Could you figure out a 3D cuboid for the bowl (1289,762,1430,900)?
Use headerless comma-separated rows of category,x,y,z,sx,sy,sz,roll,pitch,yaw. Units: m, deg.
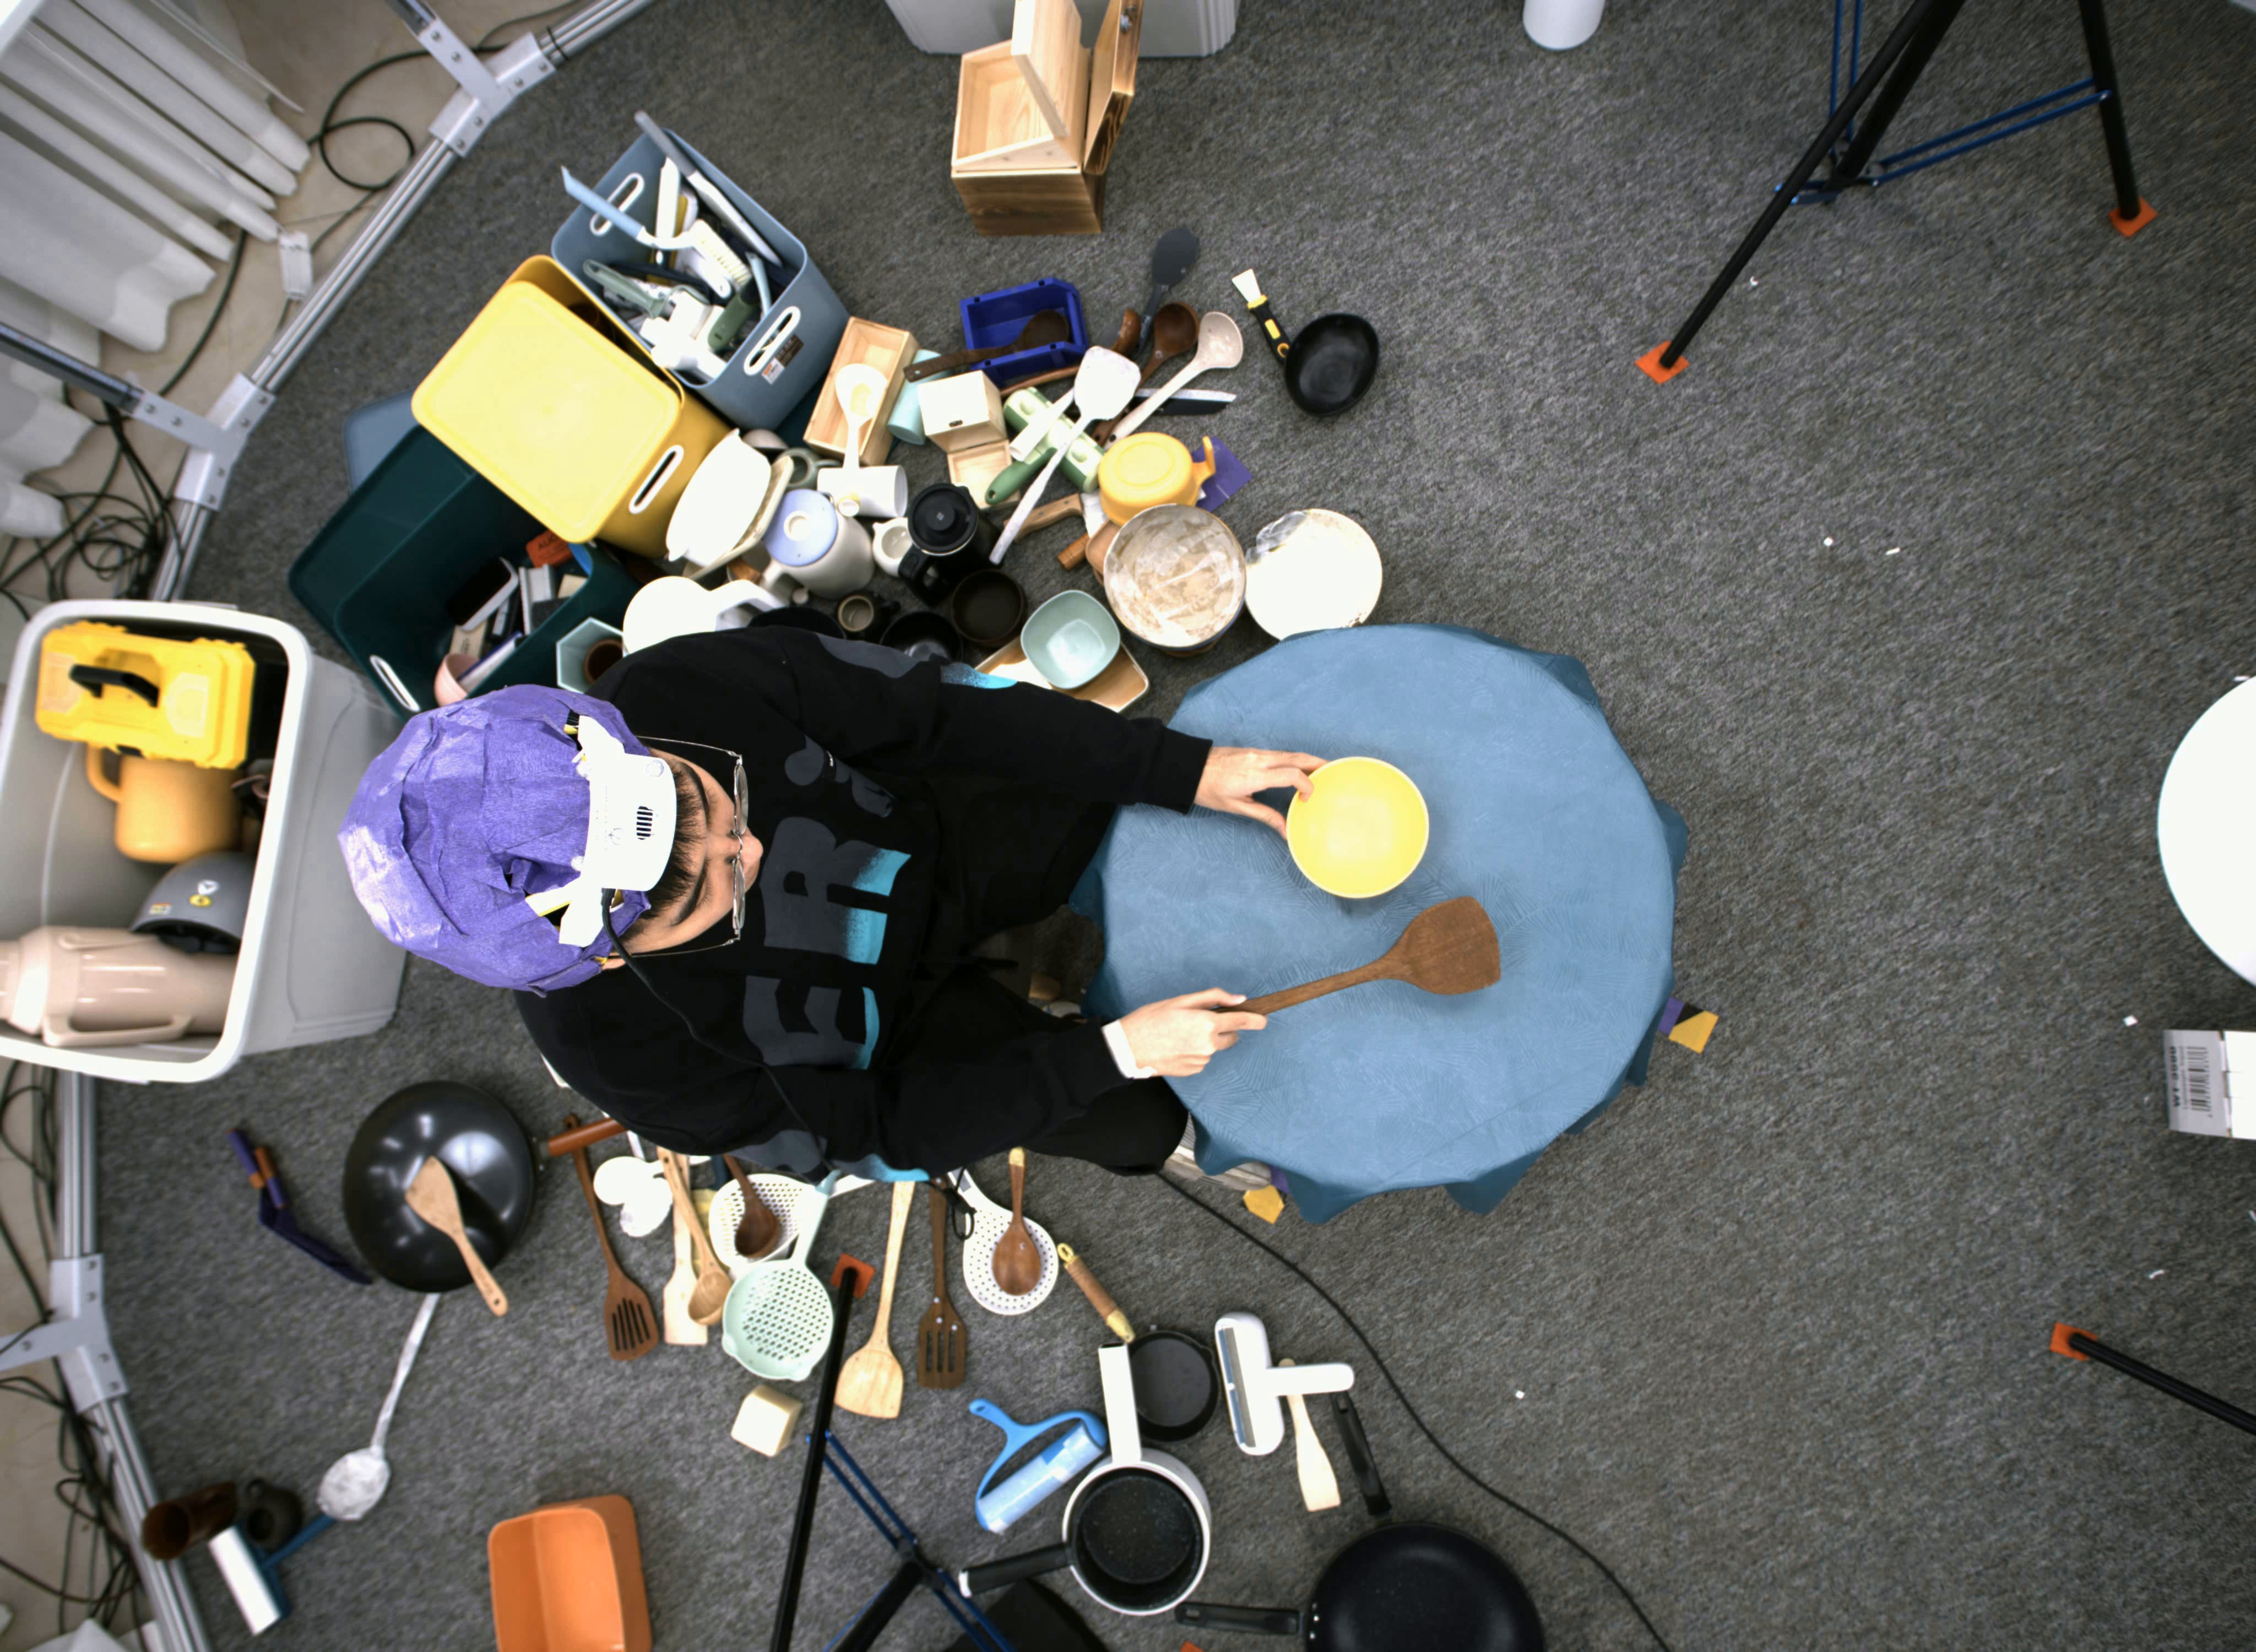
bowl,0.242,0.008,1.446,0.146,0.060,0.144,-1,83,10

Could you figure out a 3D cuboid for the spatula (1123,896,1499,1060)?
spatula,0.180,0.165,1.374,0.387,0.016,0.096,-18,93,2
